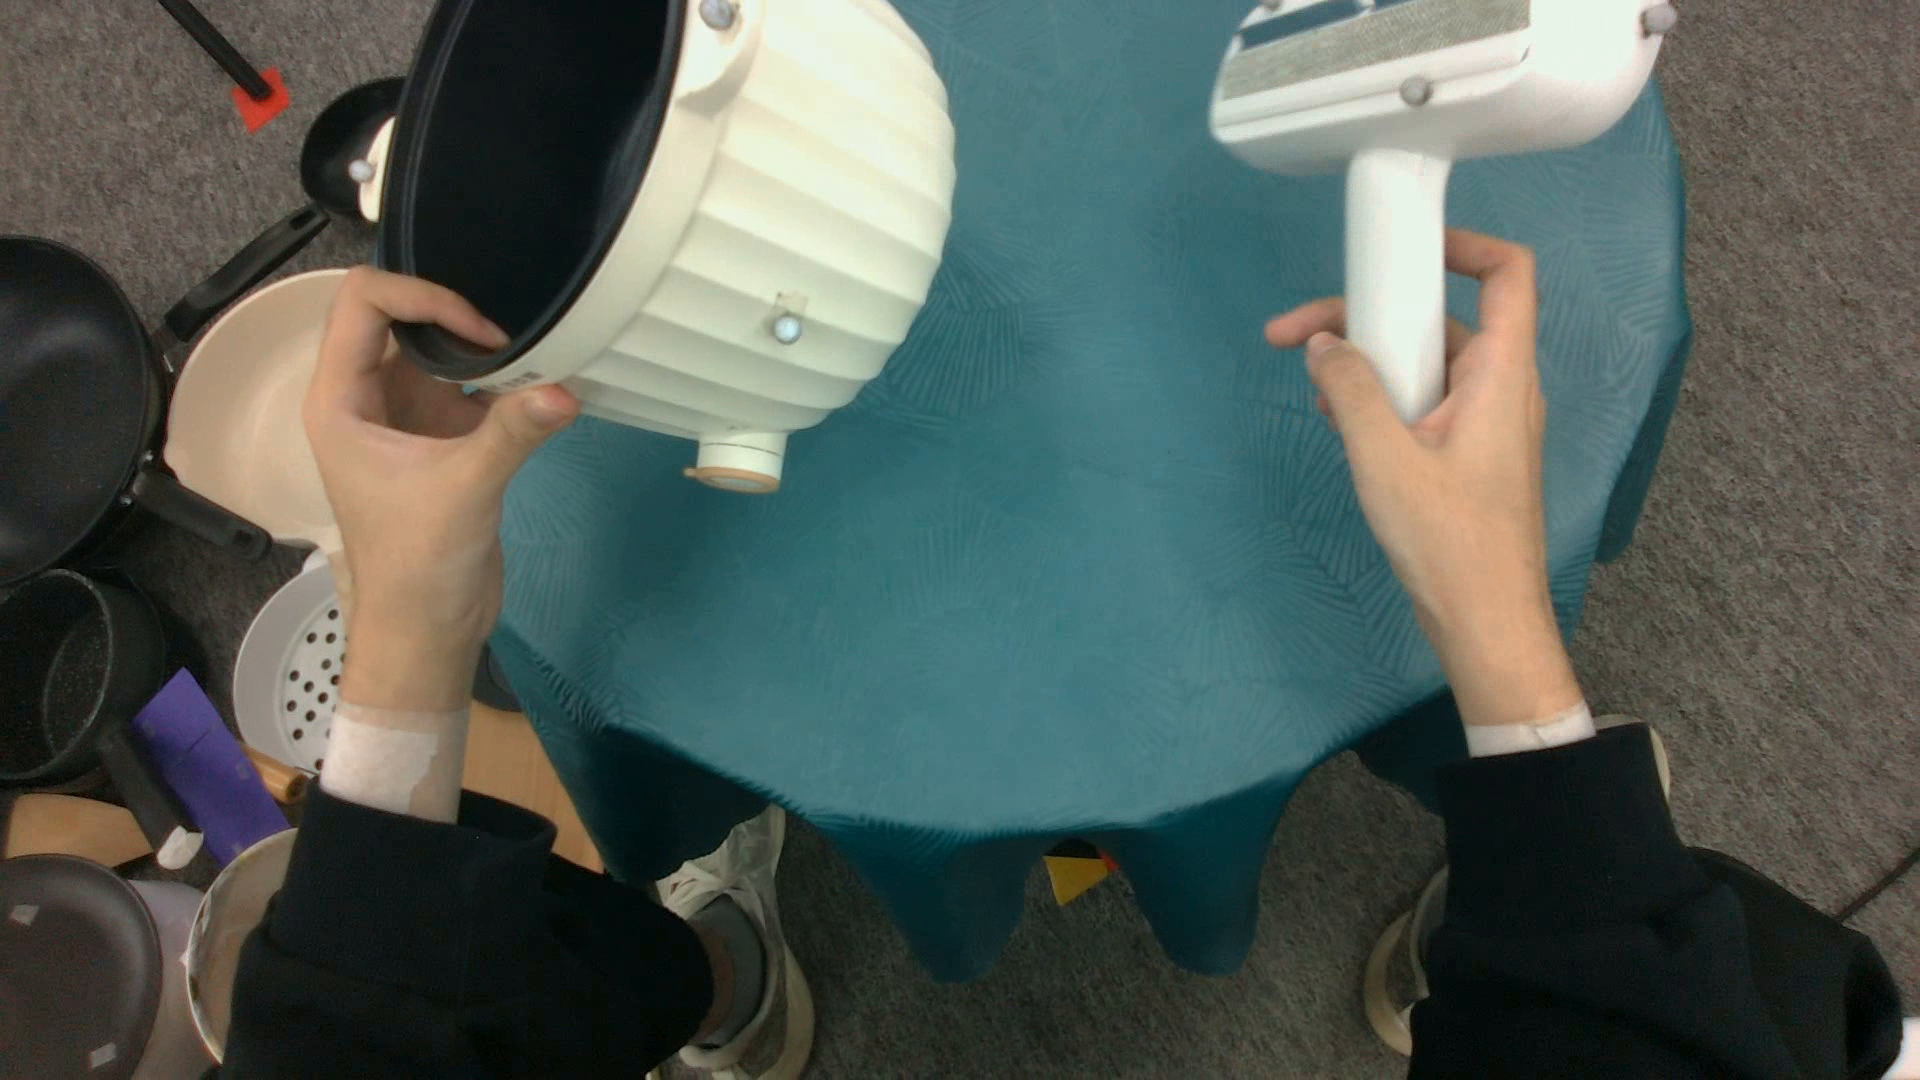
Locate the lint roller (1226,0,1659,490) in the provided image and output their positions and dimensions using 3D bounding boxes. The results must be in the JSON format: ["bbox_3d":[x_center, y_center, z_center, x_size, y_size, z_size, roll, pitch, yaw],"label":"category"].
[{"bbox_3d":[0.151,-0.112,0.490,0.074,0.193,0.192,4,106,-22],"label":"lint roller"}]

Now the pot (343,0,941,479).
[{"bbox_3d":[-0.101,-0.126,0.483,0.239,0.143,0.191,-2,76,43],"label":"pot"}]
